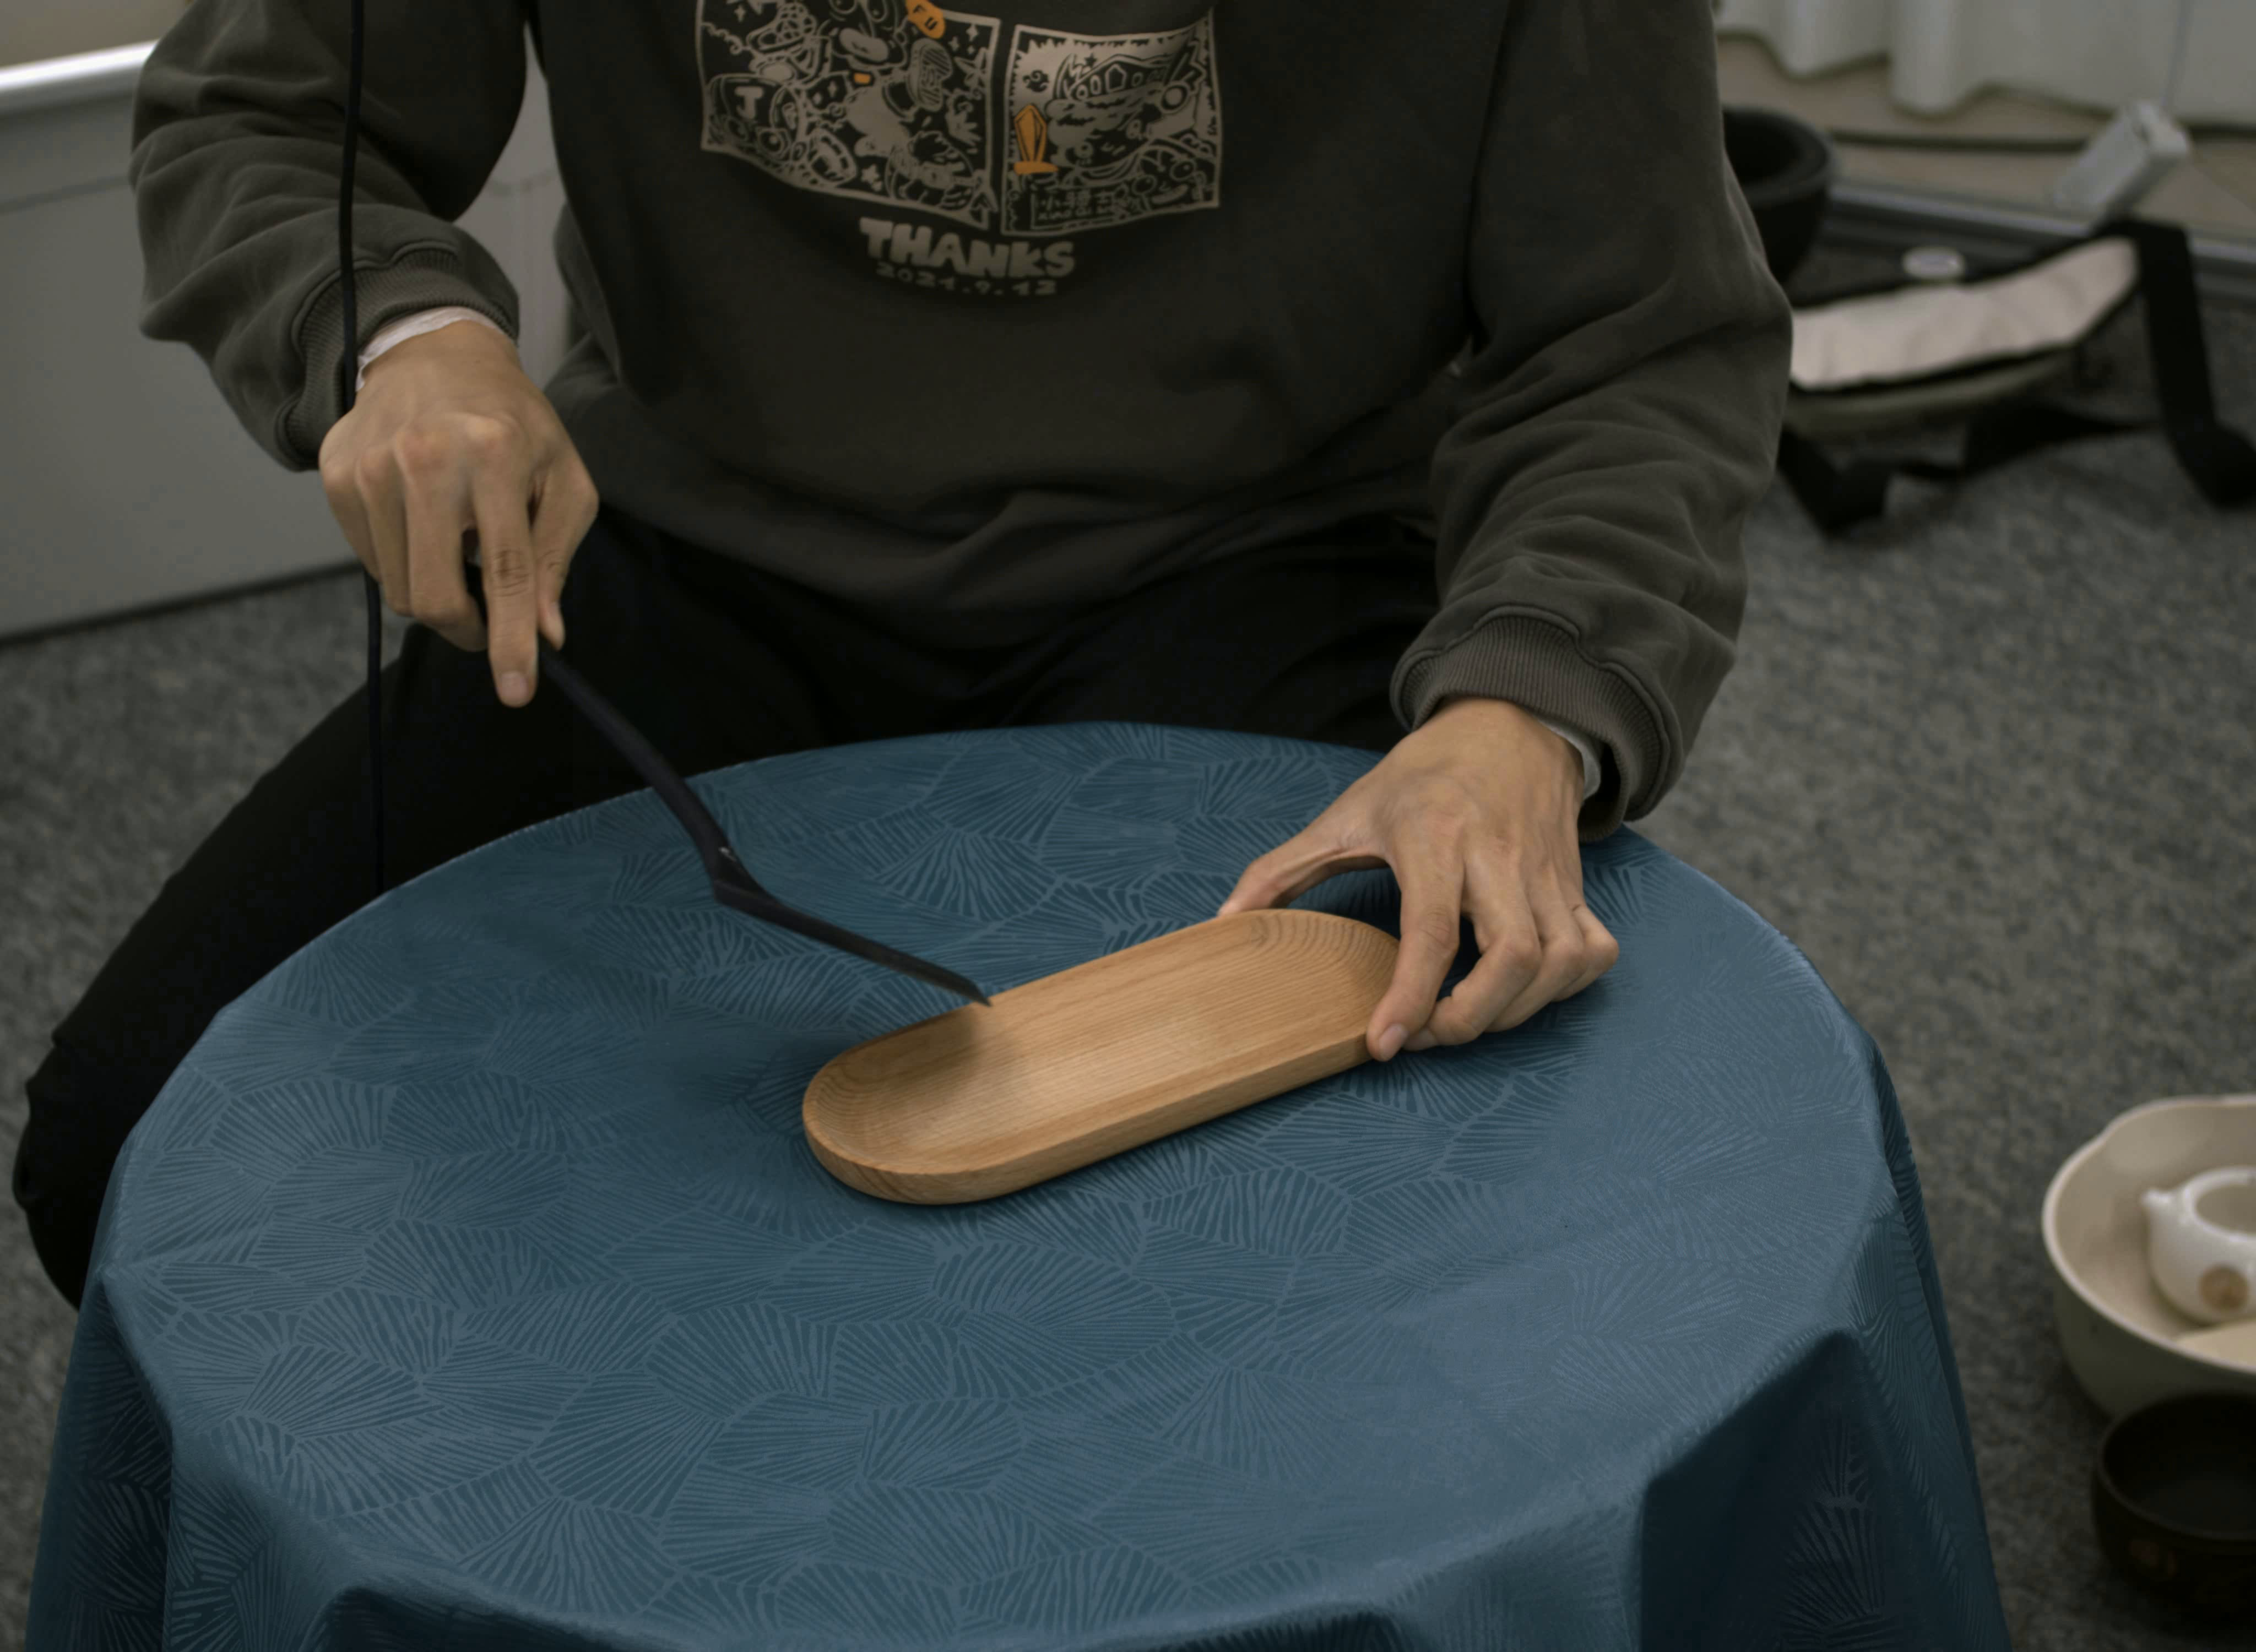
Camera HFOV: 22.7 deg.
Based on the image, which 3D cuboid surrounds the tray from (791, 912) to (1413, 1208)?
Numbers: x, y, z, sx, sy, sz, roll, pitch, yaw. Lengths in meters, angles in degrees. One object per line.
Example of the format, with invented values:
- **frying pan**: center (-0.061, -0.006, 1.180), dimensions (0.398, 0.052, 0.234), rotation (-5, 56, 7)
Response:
- **tray**: center (-0.007, 0.080, 1.924), dimensions (0.233, 0.020, 0.102), rotation (-19, 31, -26)

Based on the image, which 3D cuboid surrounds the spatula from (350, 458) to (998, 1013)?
- **spatula**: center (-0.170, -0.036, 1.965), dimensions (0.328, 0.040, 0.099), rotation (46, 6, 27)
